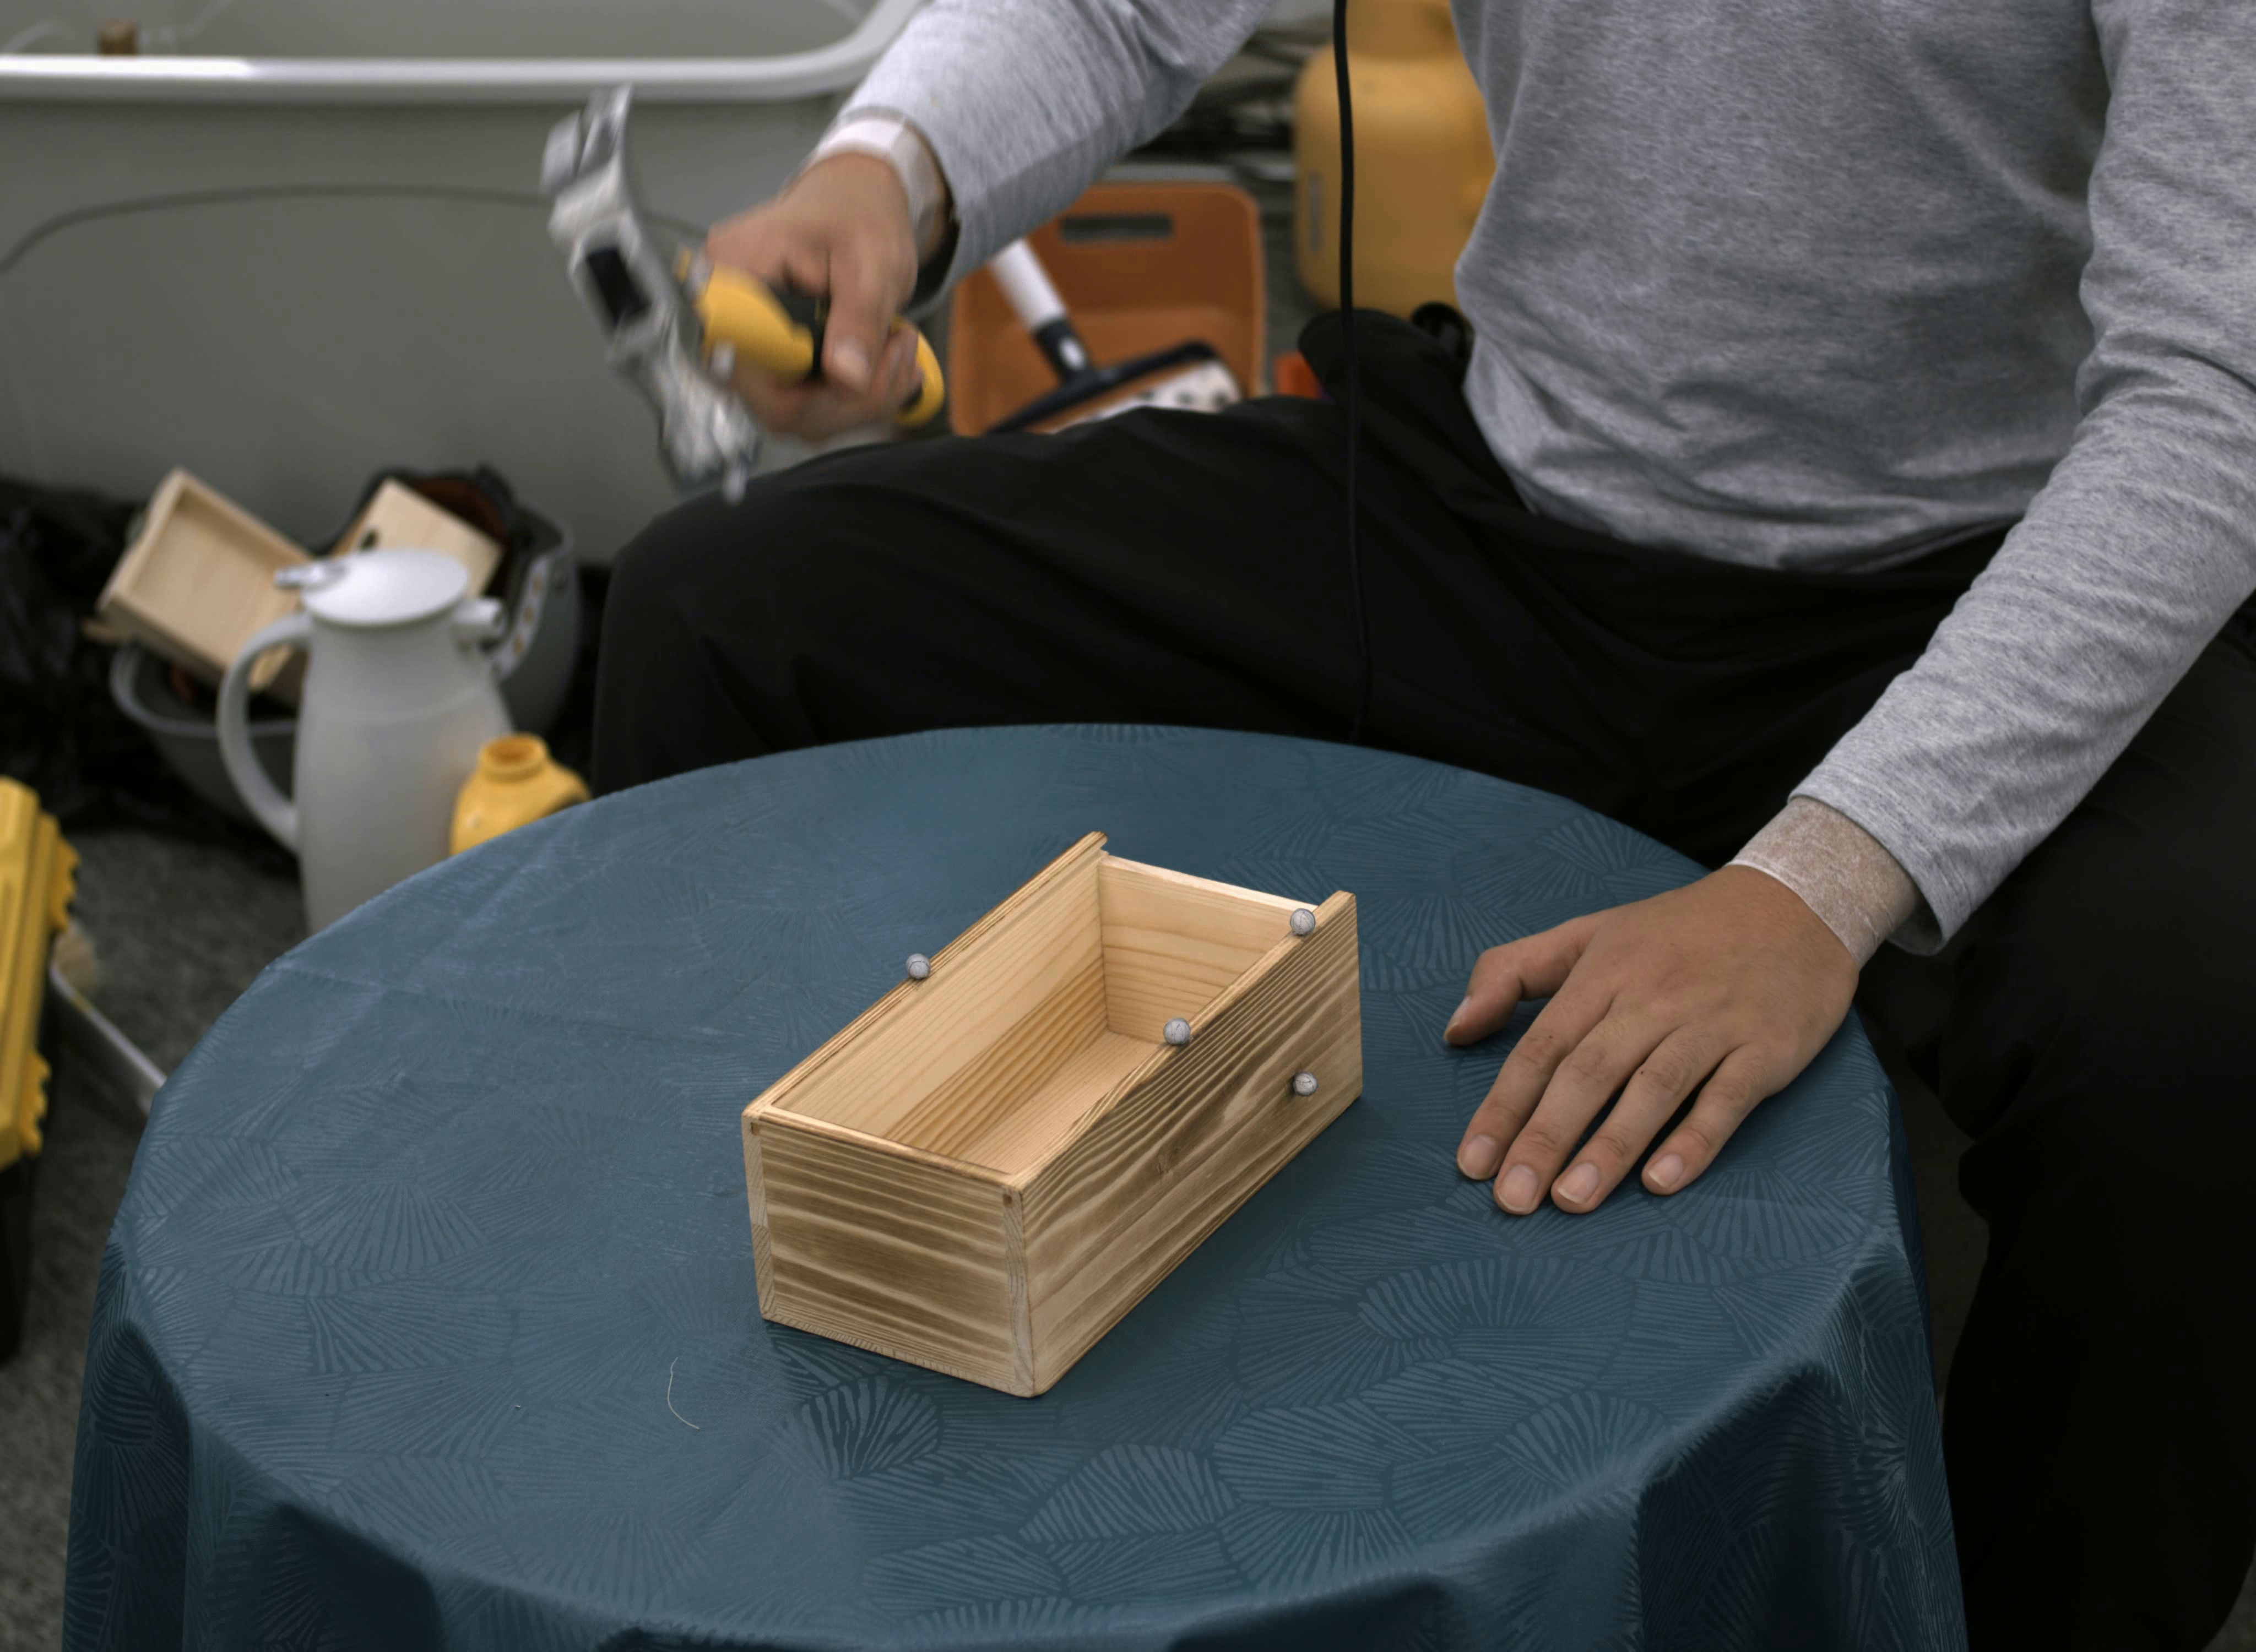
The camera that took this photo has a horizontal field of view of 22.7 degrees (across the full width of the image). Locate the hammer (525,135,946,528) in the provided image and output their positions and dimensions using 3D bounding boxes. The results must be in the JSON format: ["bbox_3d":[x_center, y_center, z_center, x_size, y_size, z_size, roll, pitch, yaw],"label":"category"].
[{"bbox_3d":[-0.121,-0.159,1.913,0.032,0.132,0.339,-31,-7,13],"label":"hammer"}]

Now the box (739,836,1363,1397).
[{"bbox_3d":[-0.022,0.091,1.841,0.107,0.079,0.215,12,31,29],"label":"box"}]
